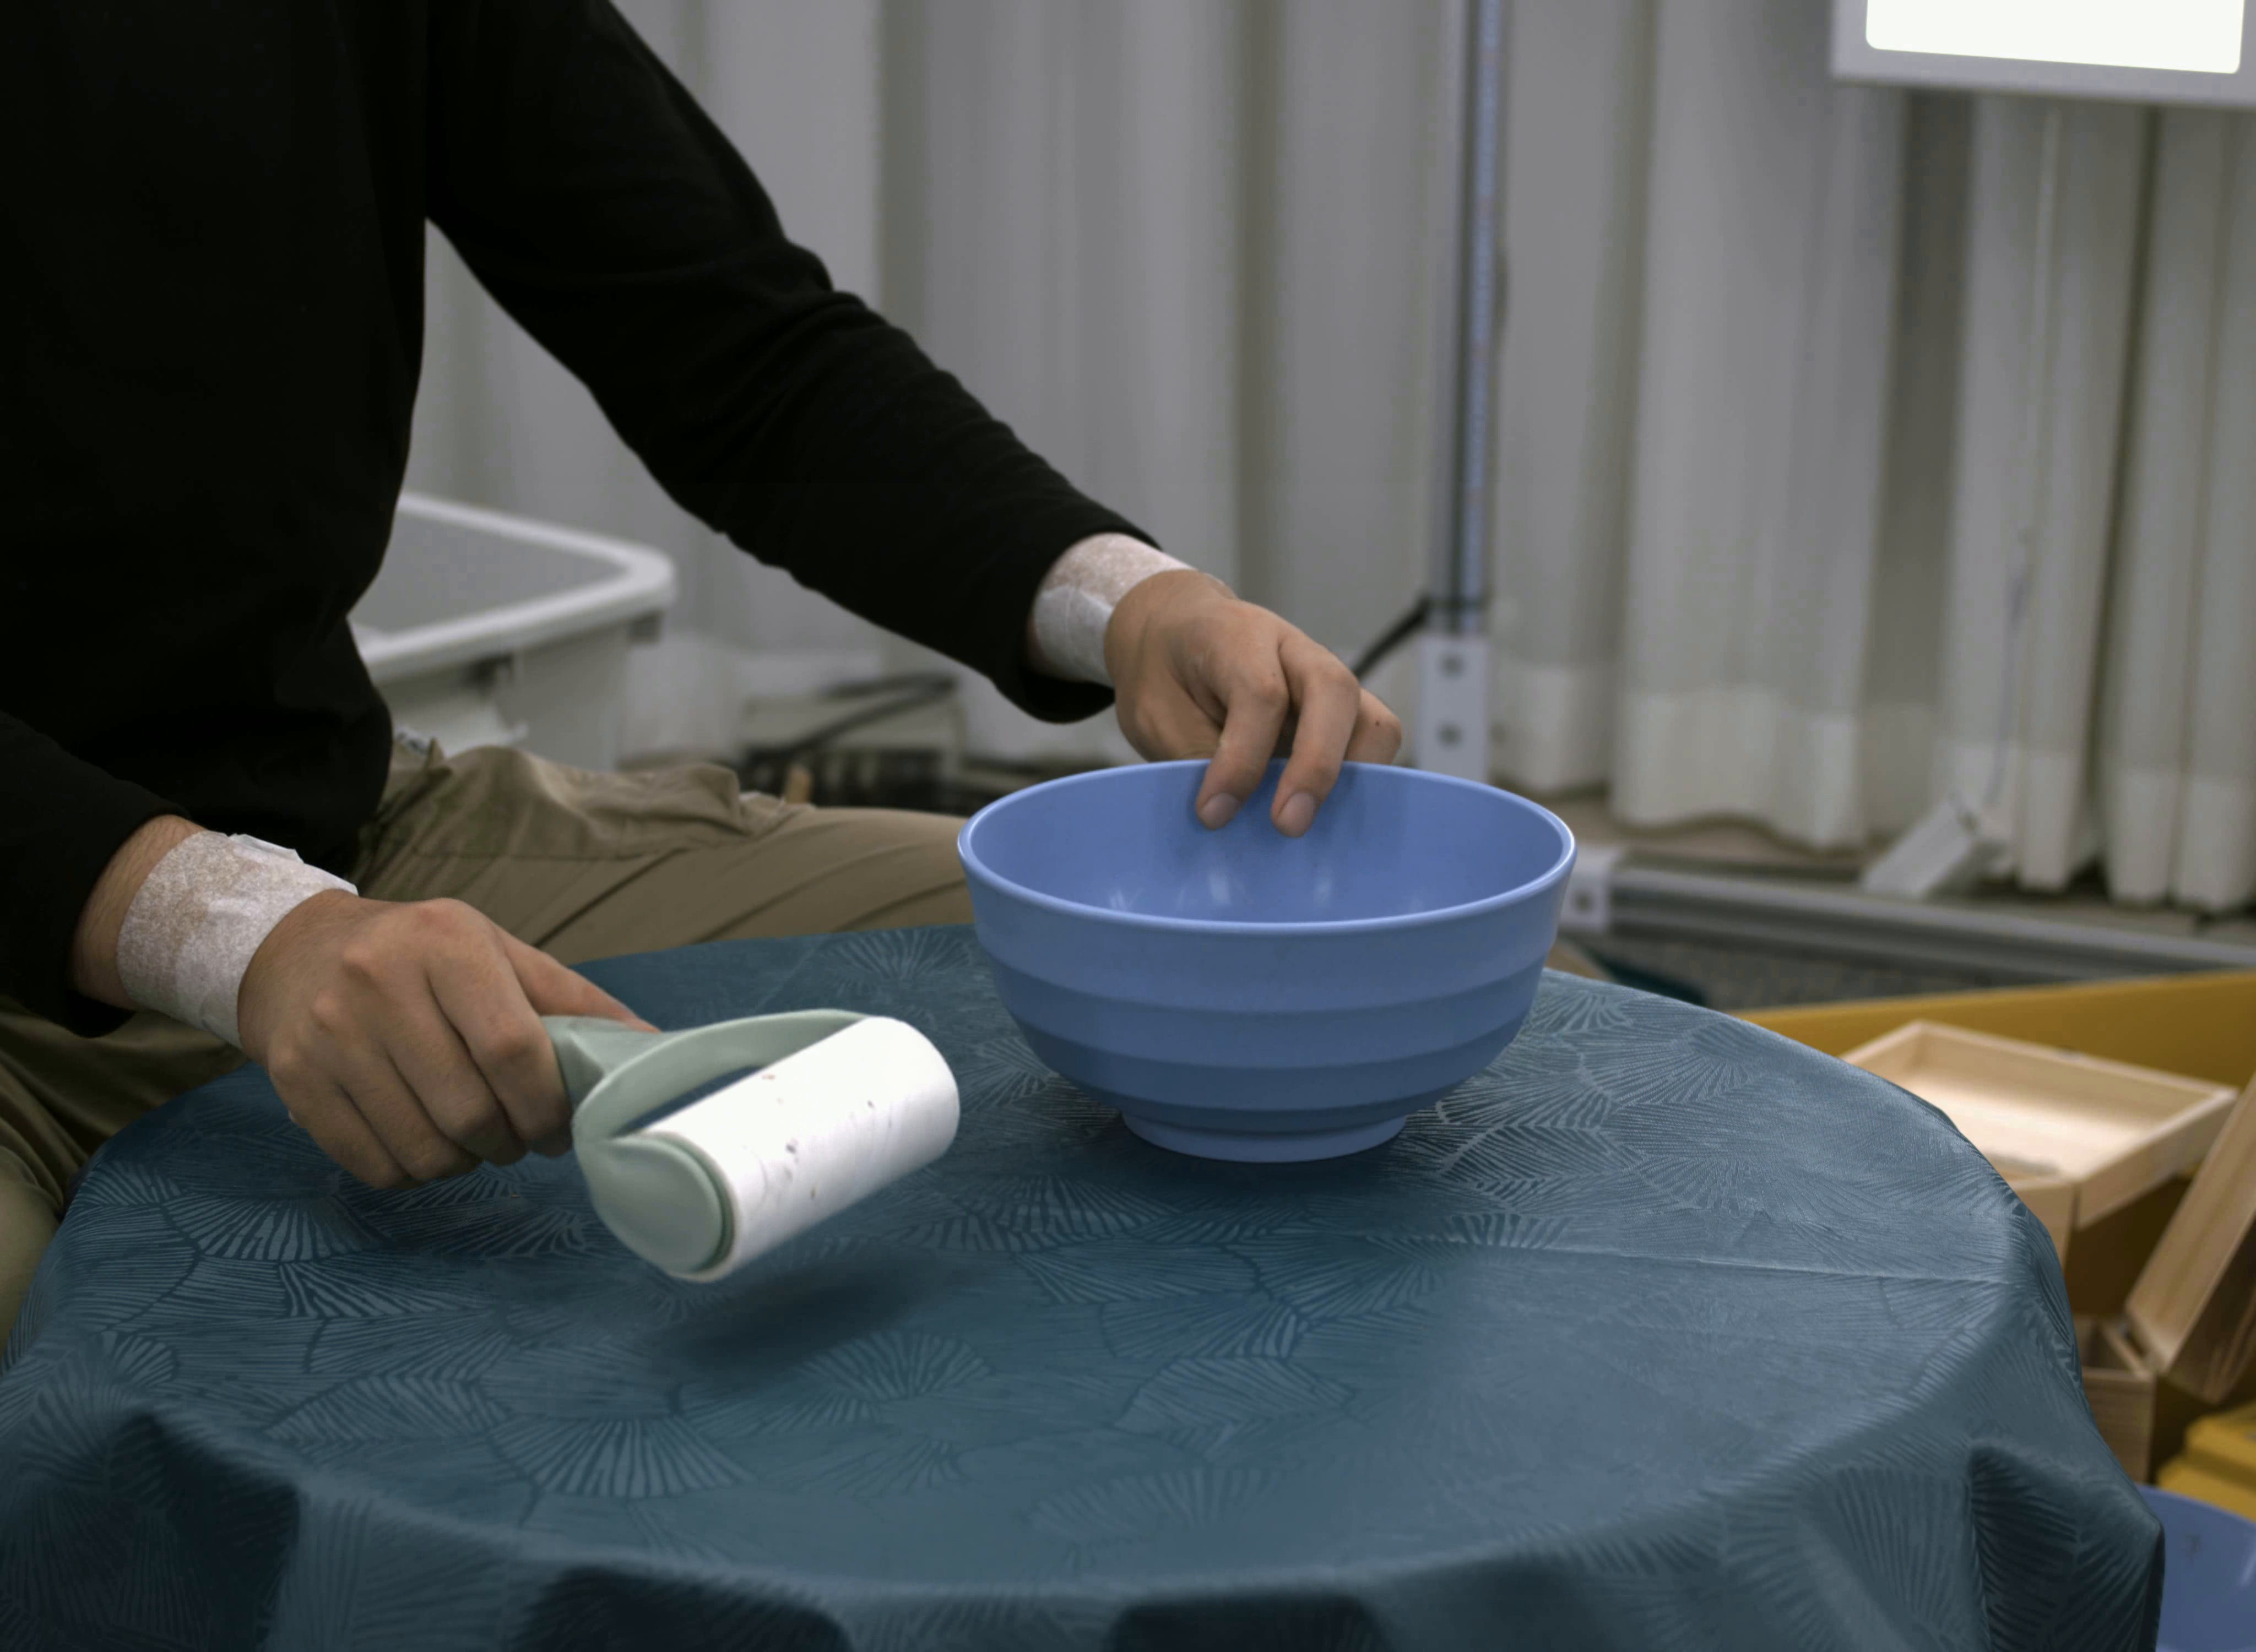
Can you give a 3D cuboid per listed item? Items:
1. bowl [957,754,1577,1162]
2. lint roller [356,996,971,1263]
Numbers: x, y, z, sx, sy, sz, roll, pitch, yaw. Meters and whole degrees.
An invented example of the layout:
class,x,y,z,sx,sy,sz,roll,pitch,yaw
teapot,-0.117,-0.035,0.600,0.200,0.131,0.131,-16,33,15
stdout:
class,x,y,z,sx,sy,sz,roll,pitch,yaw
bowl,0.044,0.047,1.676,0.196,0.096,0.195,0,17,1
lint roller,-0.152,0.078,1.552,0.195,0.049,0.117,9,23,35
